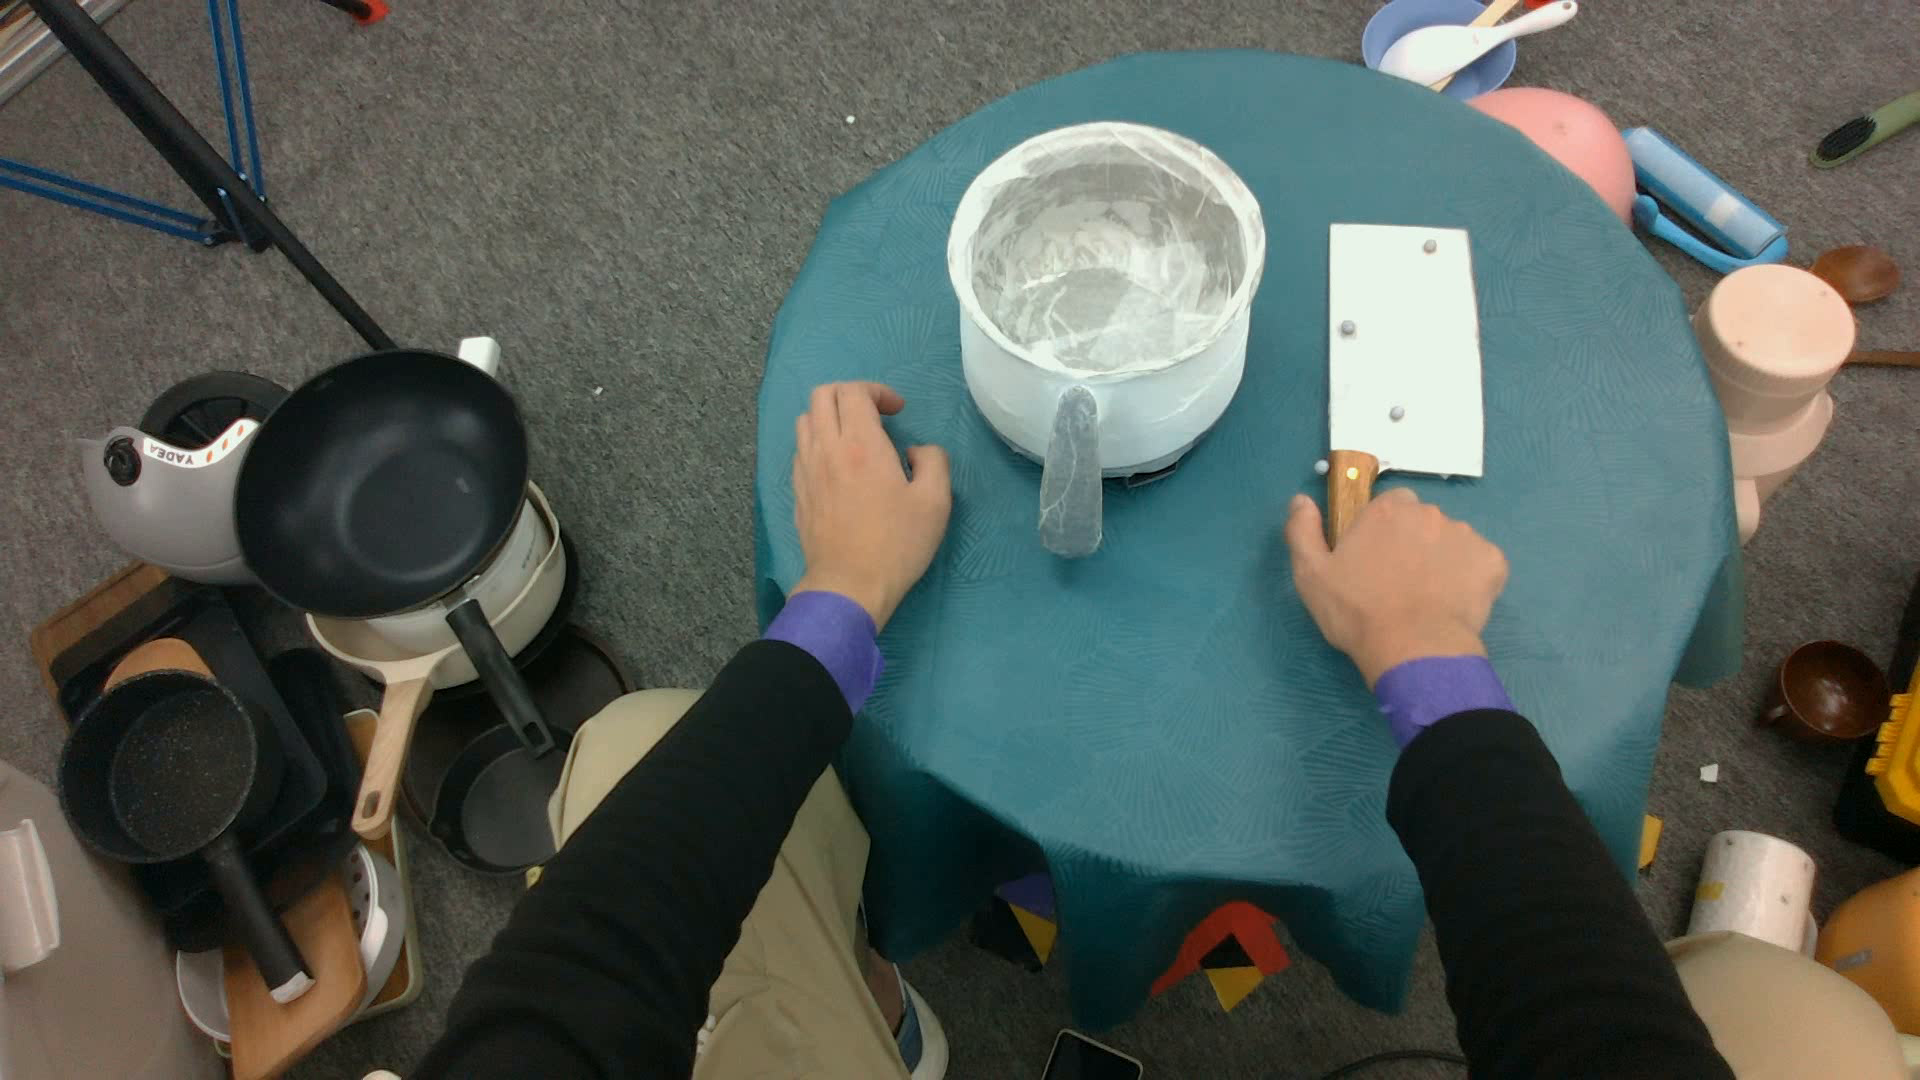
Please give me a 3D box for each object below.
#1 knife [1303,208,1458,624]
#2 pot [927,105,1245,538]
[{"bbox_3d":[0.259,-0.087,0.851,0.093,0.021,0.307,4,63,6],"label":"knife"},{"bbox_3d":[0.070,-0.124,0.813,0.178,0.136,0.234,6,64,8],"label":"pot"}]
